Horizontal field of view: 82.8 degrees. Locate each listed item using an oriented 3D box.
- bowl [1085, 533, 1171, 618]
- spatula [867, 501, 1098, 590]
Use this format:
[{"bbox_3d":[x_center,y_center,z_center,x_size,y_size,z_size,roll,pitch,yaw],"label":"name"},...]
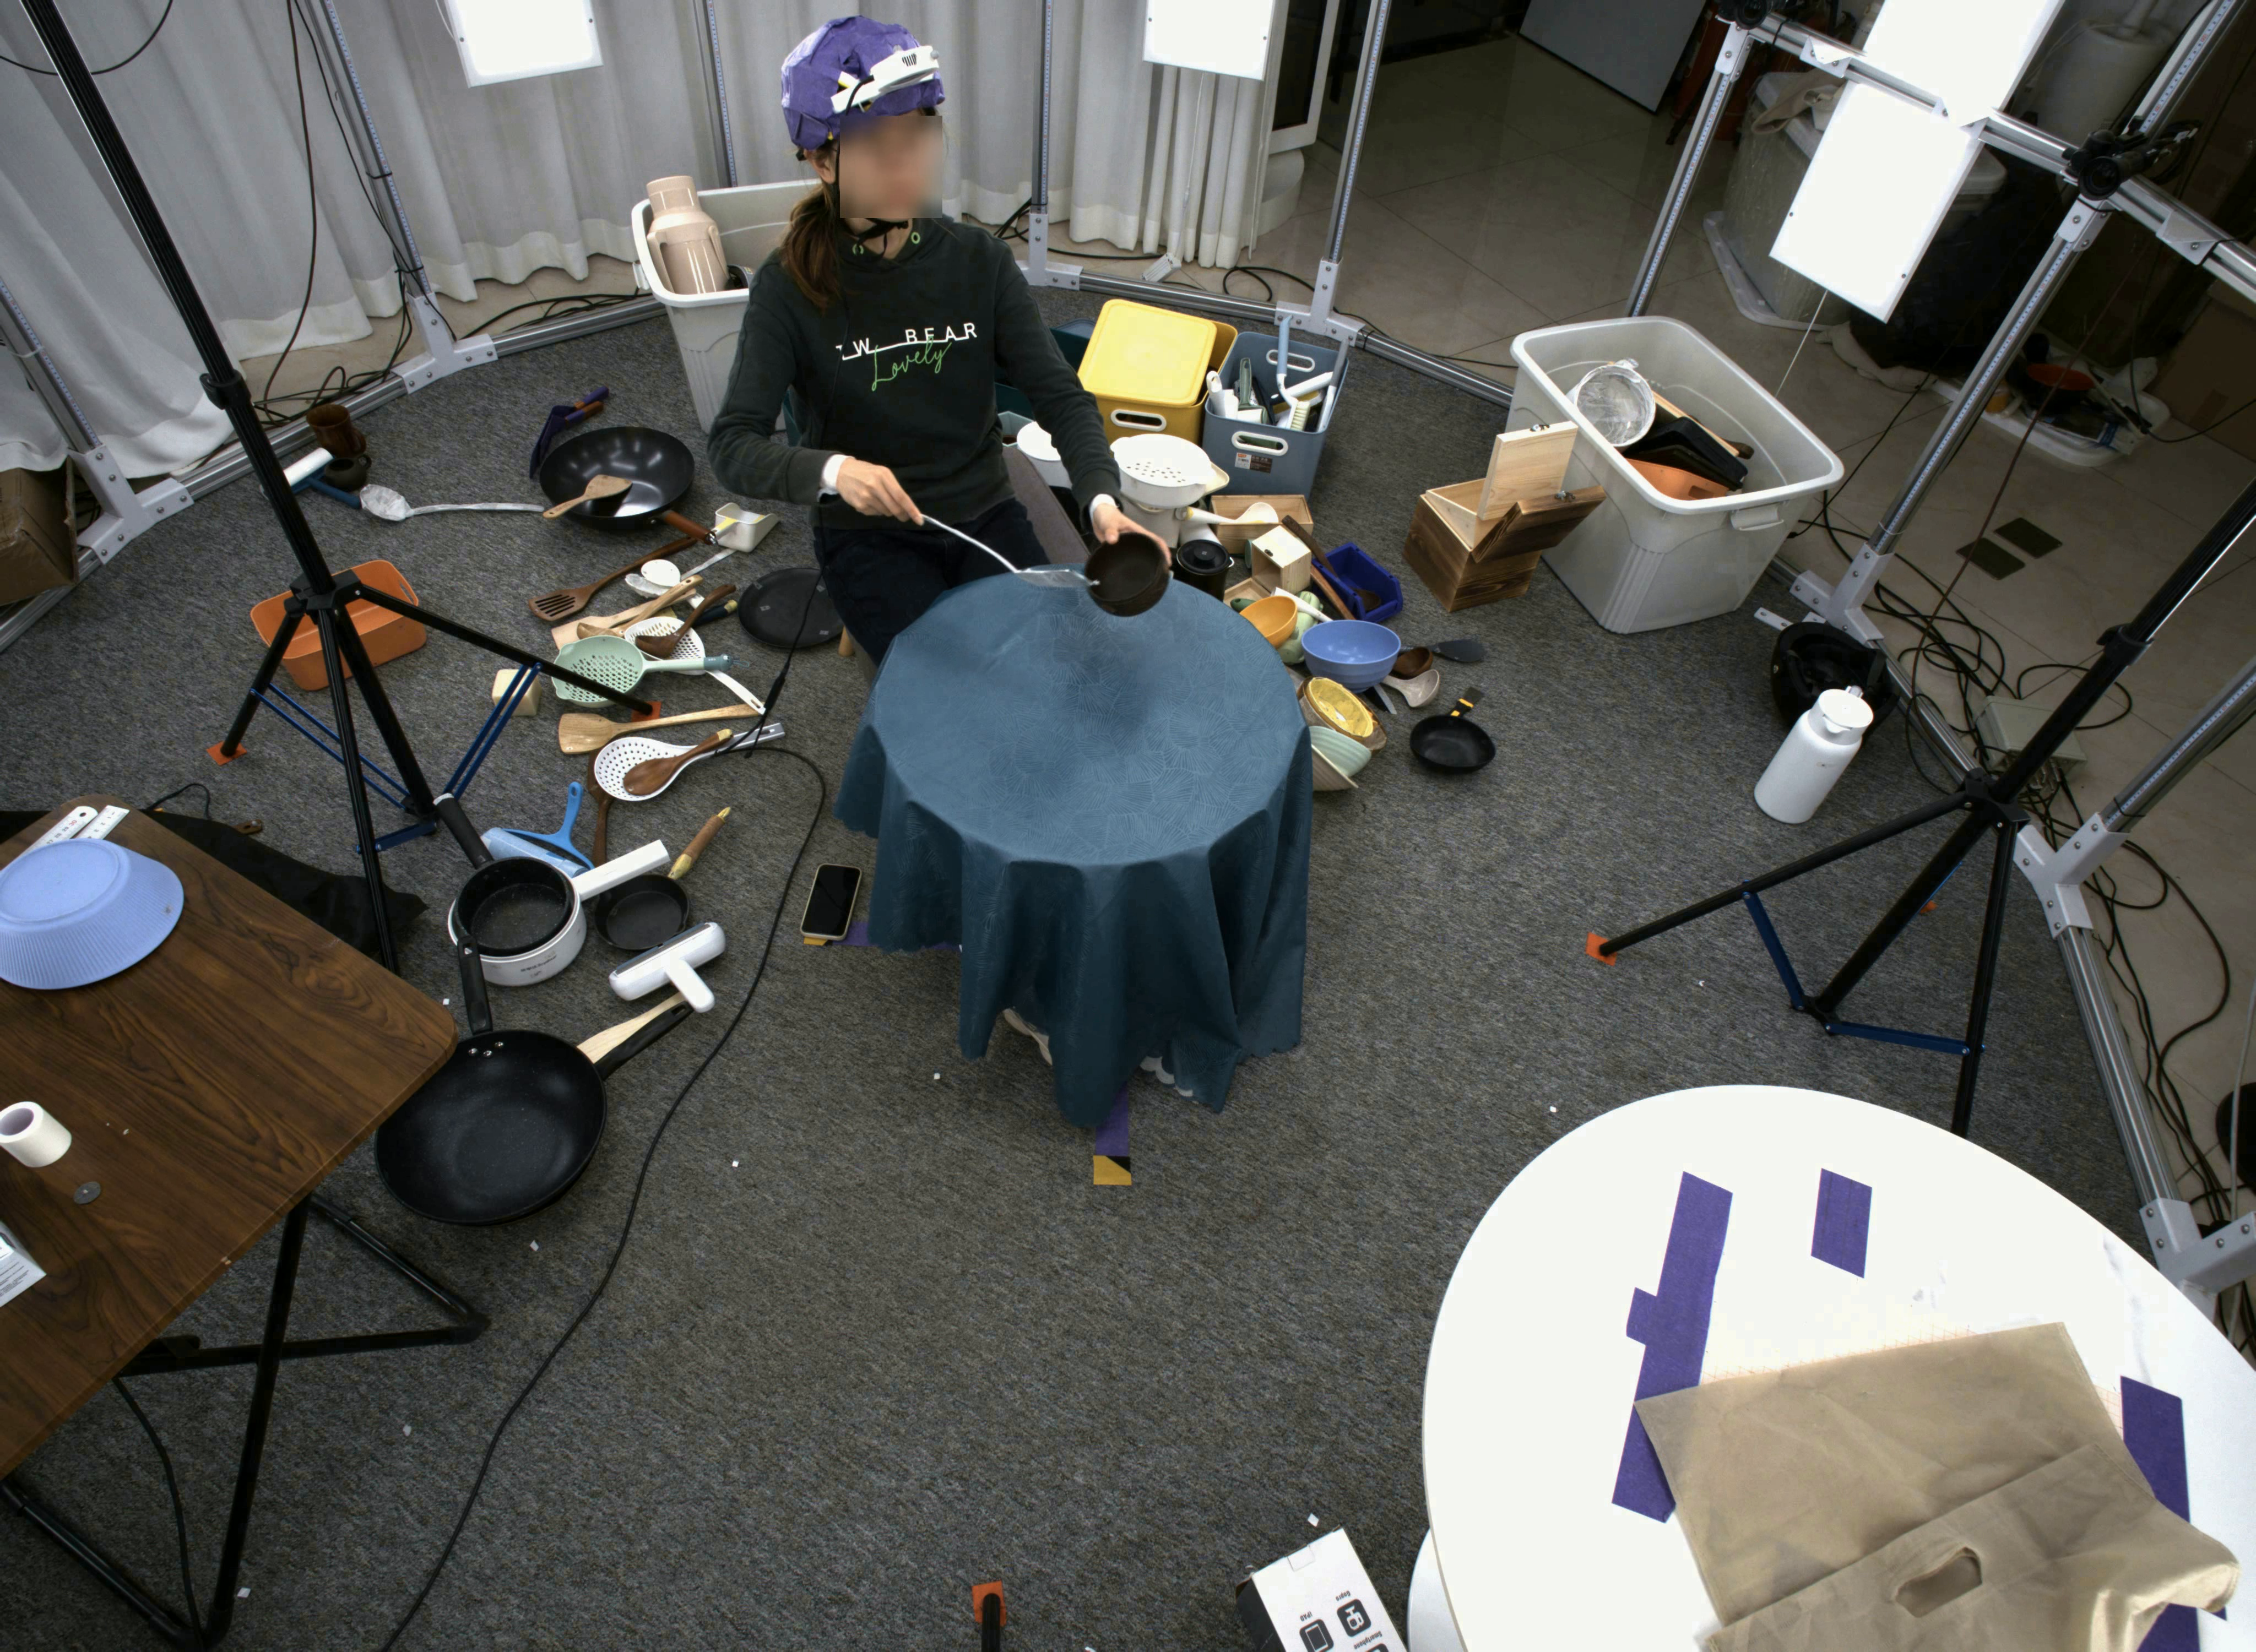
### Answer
[{"bbox_3d":[0.006,-0.342,1.797,0.118,0.068,0.120,-10,60,18],"label":"bowl"},{"bbox_3d":[-0.206,-0.380,1.718,0.368,0.044,0.098,30,11,20],"label":"spatula"}]
